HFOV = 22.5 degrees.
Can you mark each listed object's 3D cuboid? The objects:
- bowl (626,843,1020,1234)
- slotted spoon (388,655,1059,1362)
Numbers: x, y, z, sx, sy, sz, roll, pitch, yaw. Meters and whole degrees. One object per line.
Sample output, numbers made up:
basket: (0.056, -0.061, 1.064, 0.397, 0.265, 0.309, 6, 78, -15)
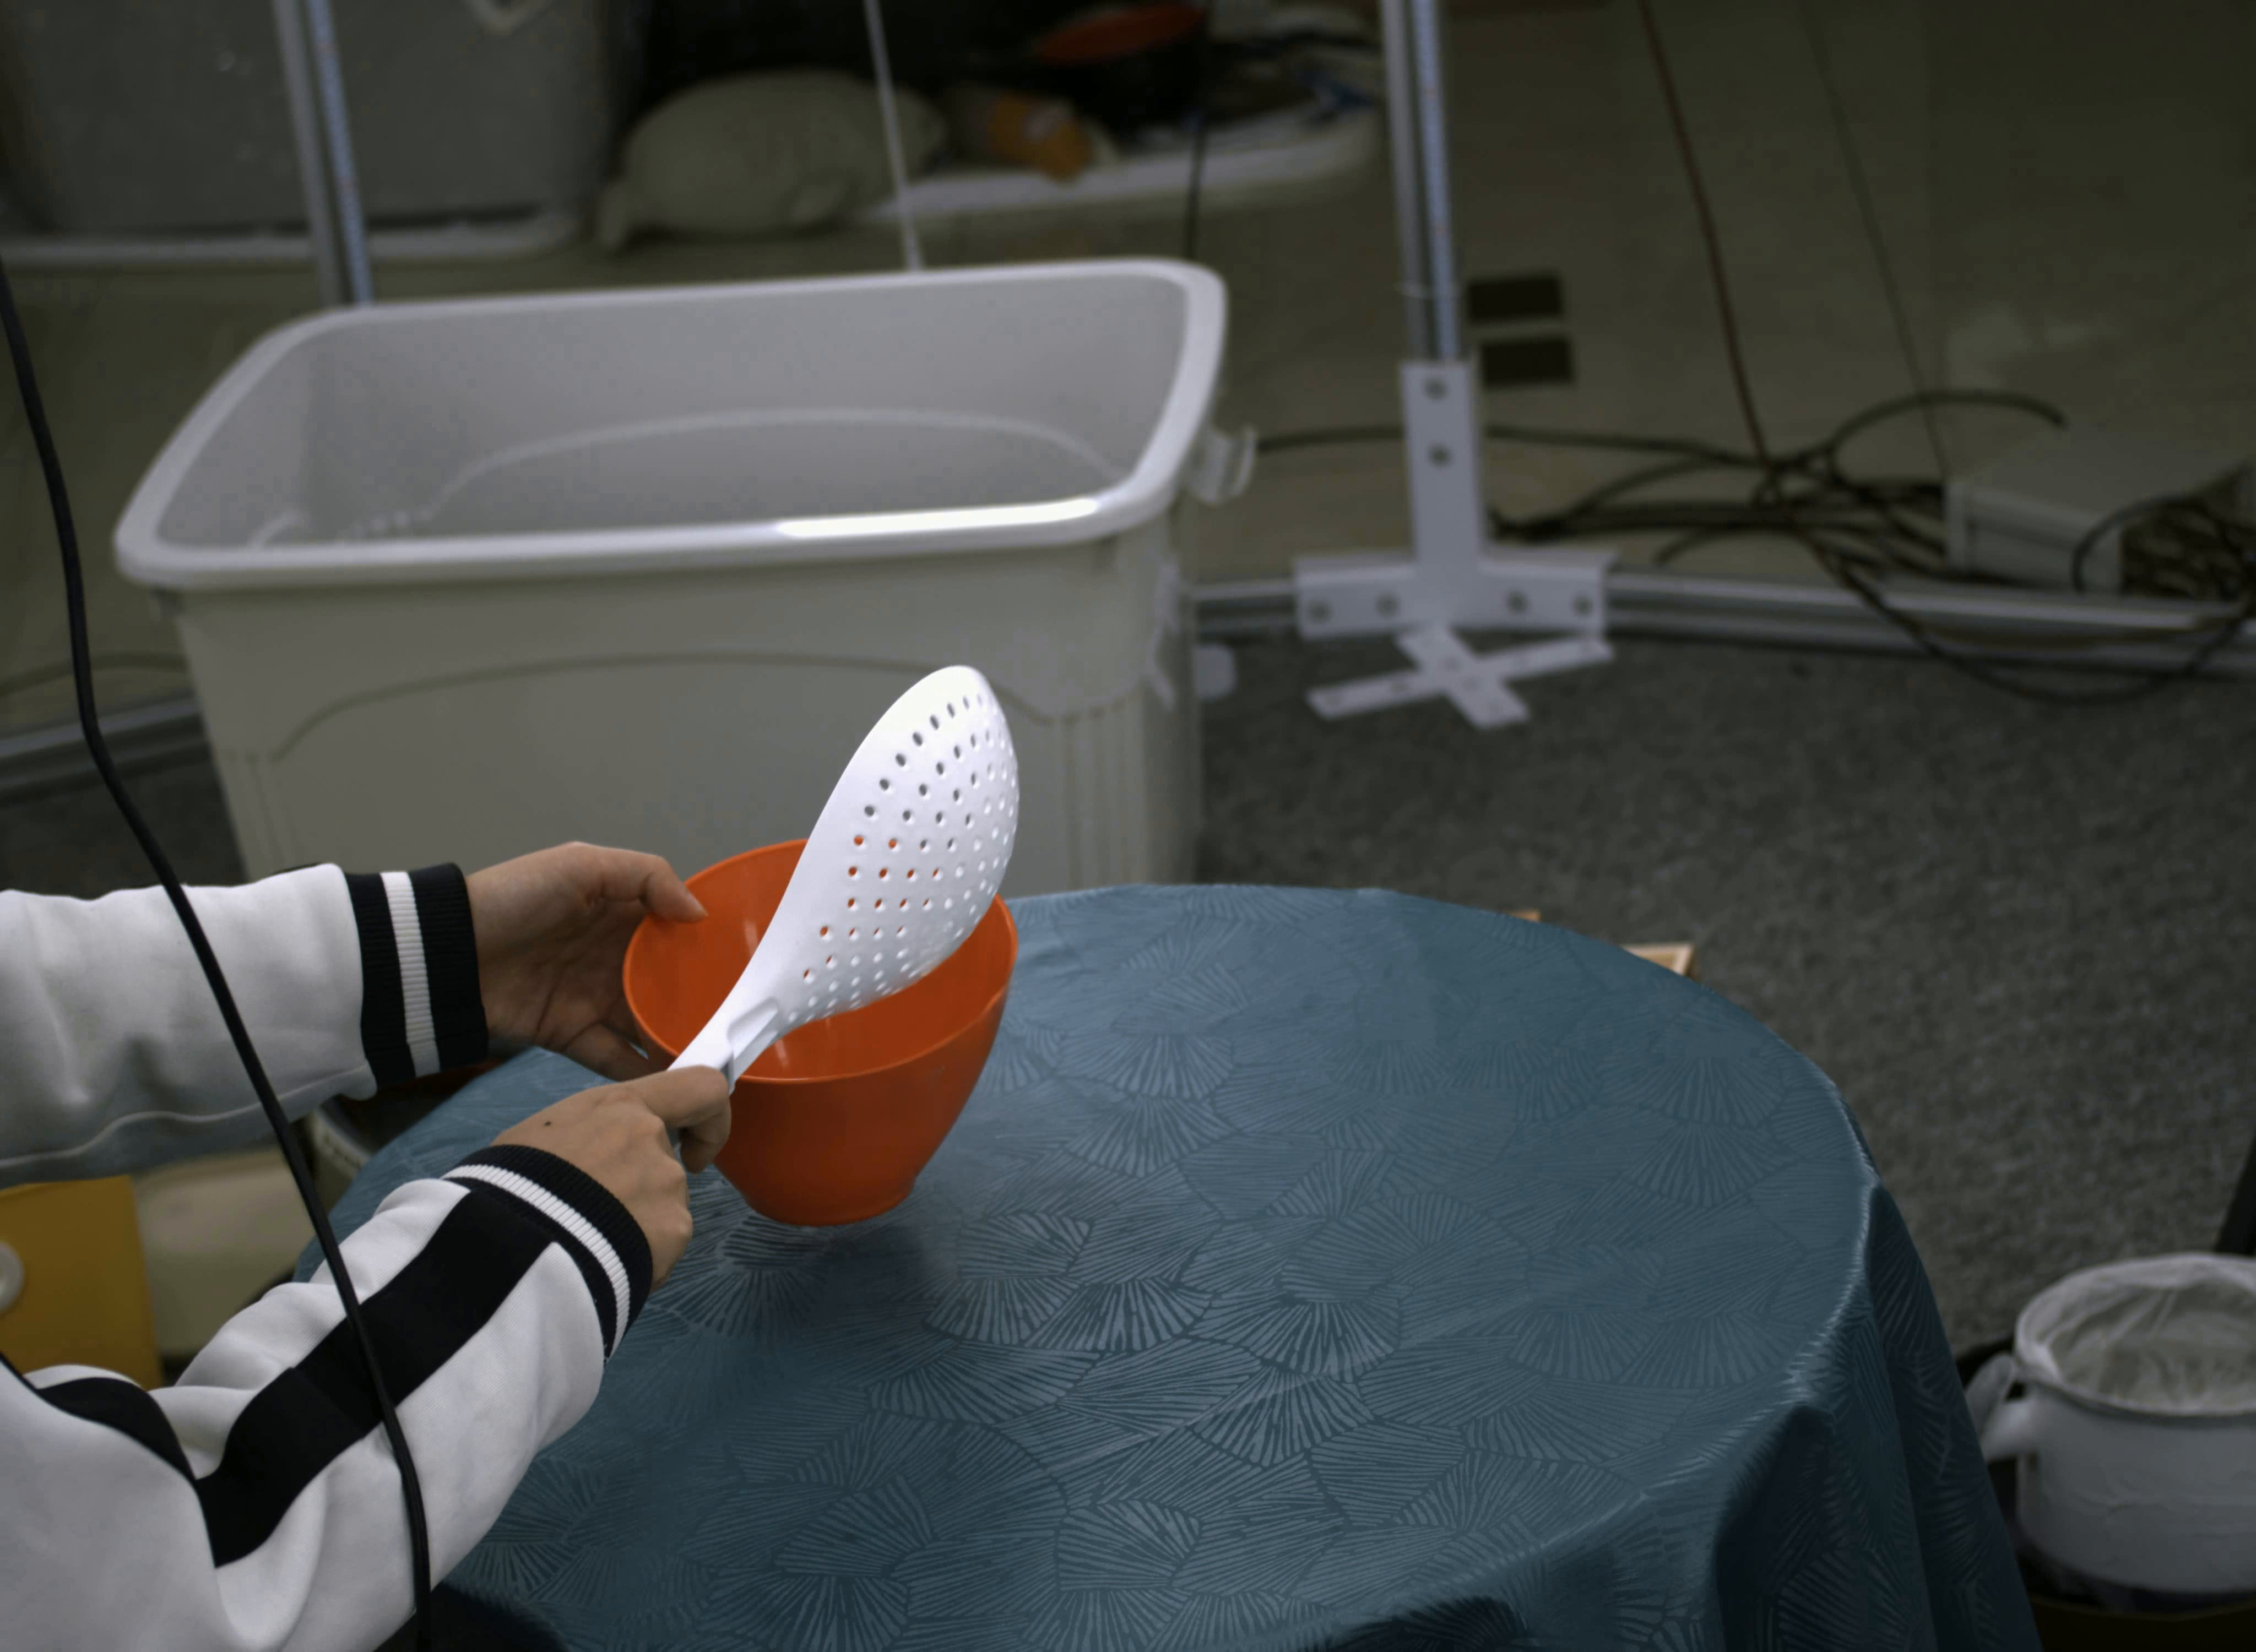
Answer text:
bowl: (-0.113, 0.087, 2.130, 0.148, 0.106, 0.145, -1, 29, 0)
slotted spoon: (-0.133, 0.064, 1.959, 0.045, 0.138, 0.346, 43, 61, 13)
